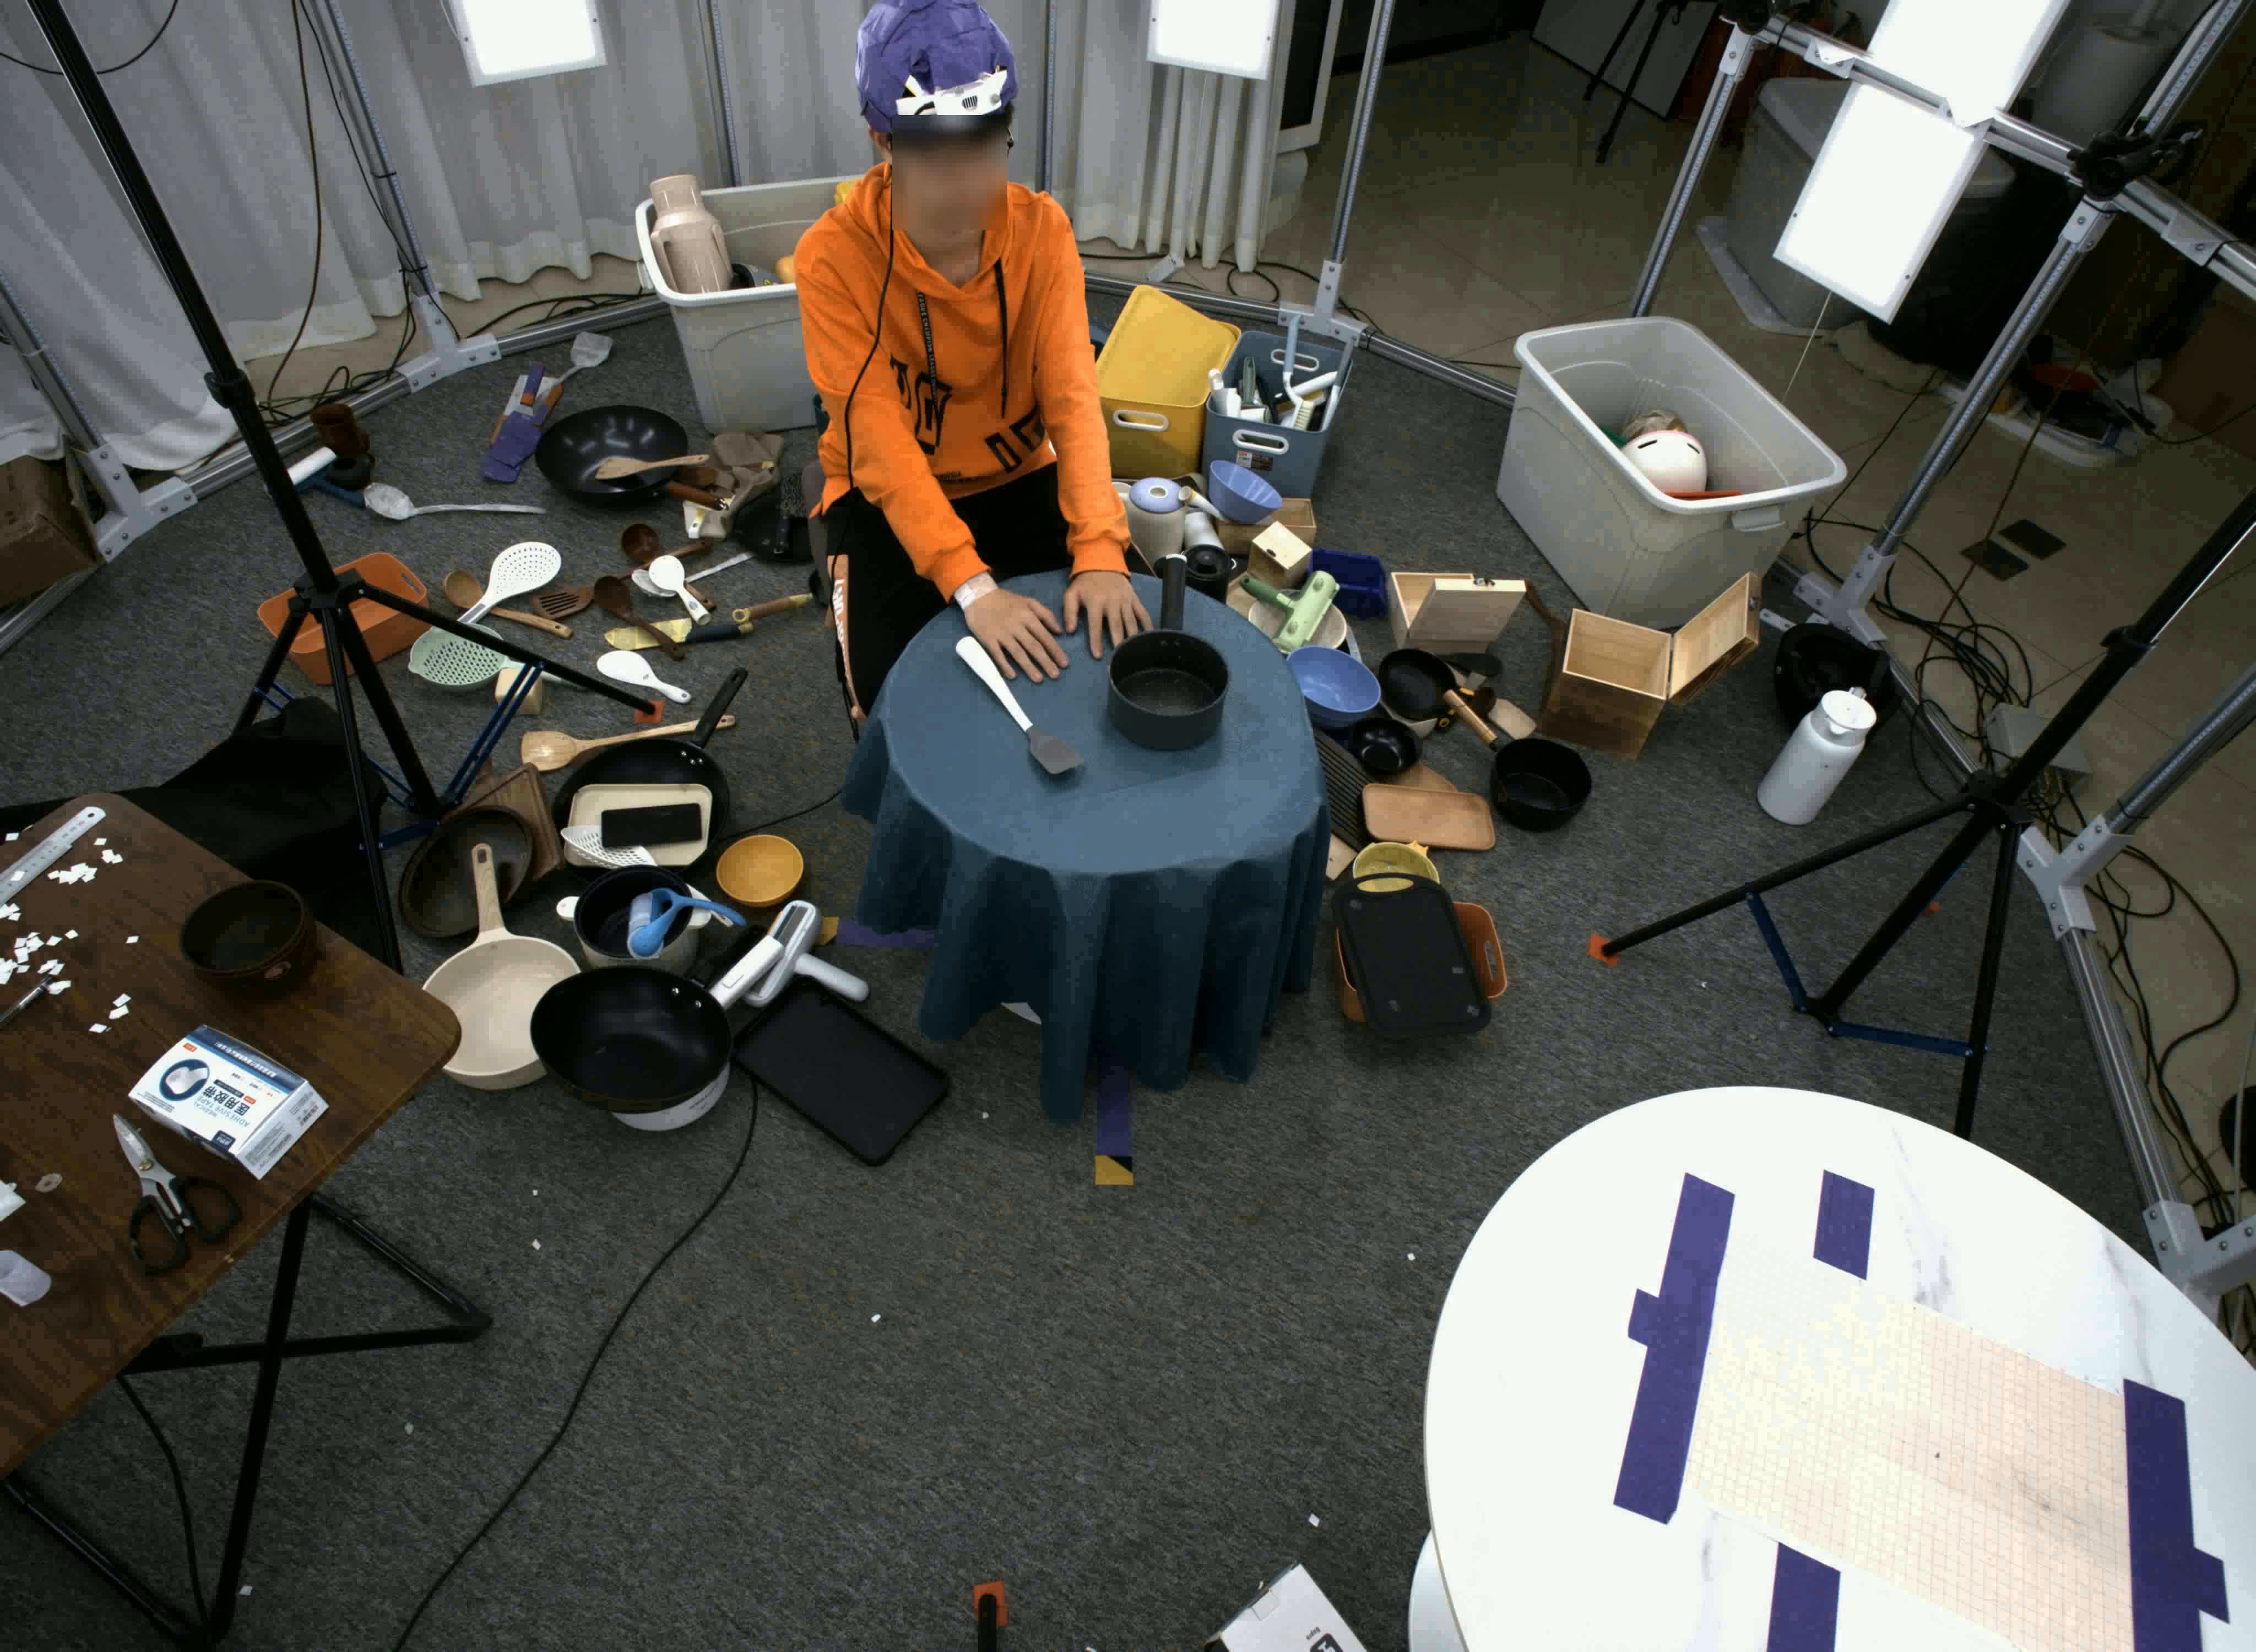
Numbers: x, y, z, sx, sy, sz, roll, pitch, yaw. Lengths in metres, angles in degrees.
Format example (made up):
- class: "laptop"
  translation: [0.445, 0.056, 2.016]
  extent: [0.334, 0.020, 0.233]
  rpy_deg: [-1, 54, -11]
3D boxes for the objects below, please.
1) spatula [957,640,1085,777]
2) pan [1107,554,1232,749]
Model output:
- class: "spatula"
  translation: [-0.154, -0.163, 1.779]
  extent: [0.059, 0.031, 0.293]
  rpy_deg: [-22, 53, -25]
- class: "pan"
  translation: [0.063, -0.253, 1.837]
  extent: [0.172, 0.084, 0.336]
  rpy_deg: [7, 51, 1]
